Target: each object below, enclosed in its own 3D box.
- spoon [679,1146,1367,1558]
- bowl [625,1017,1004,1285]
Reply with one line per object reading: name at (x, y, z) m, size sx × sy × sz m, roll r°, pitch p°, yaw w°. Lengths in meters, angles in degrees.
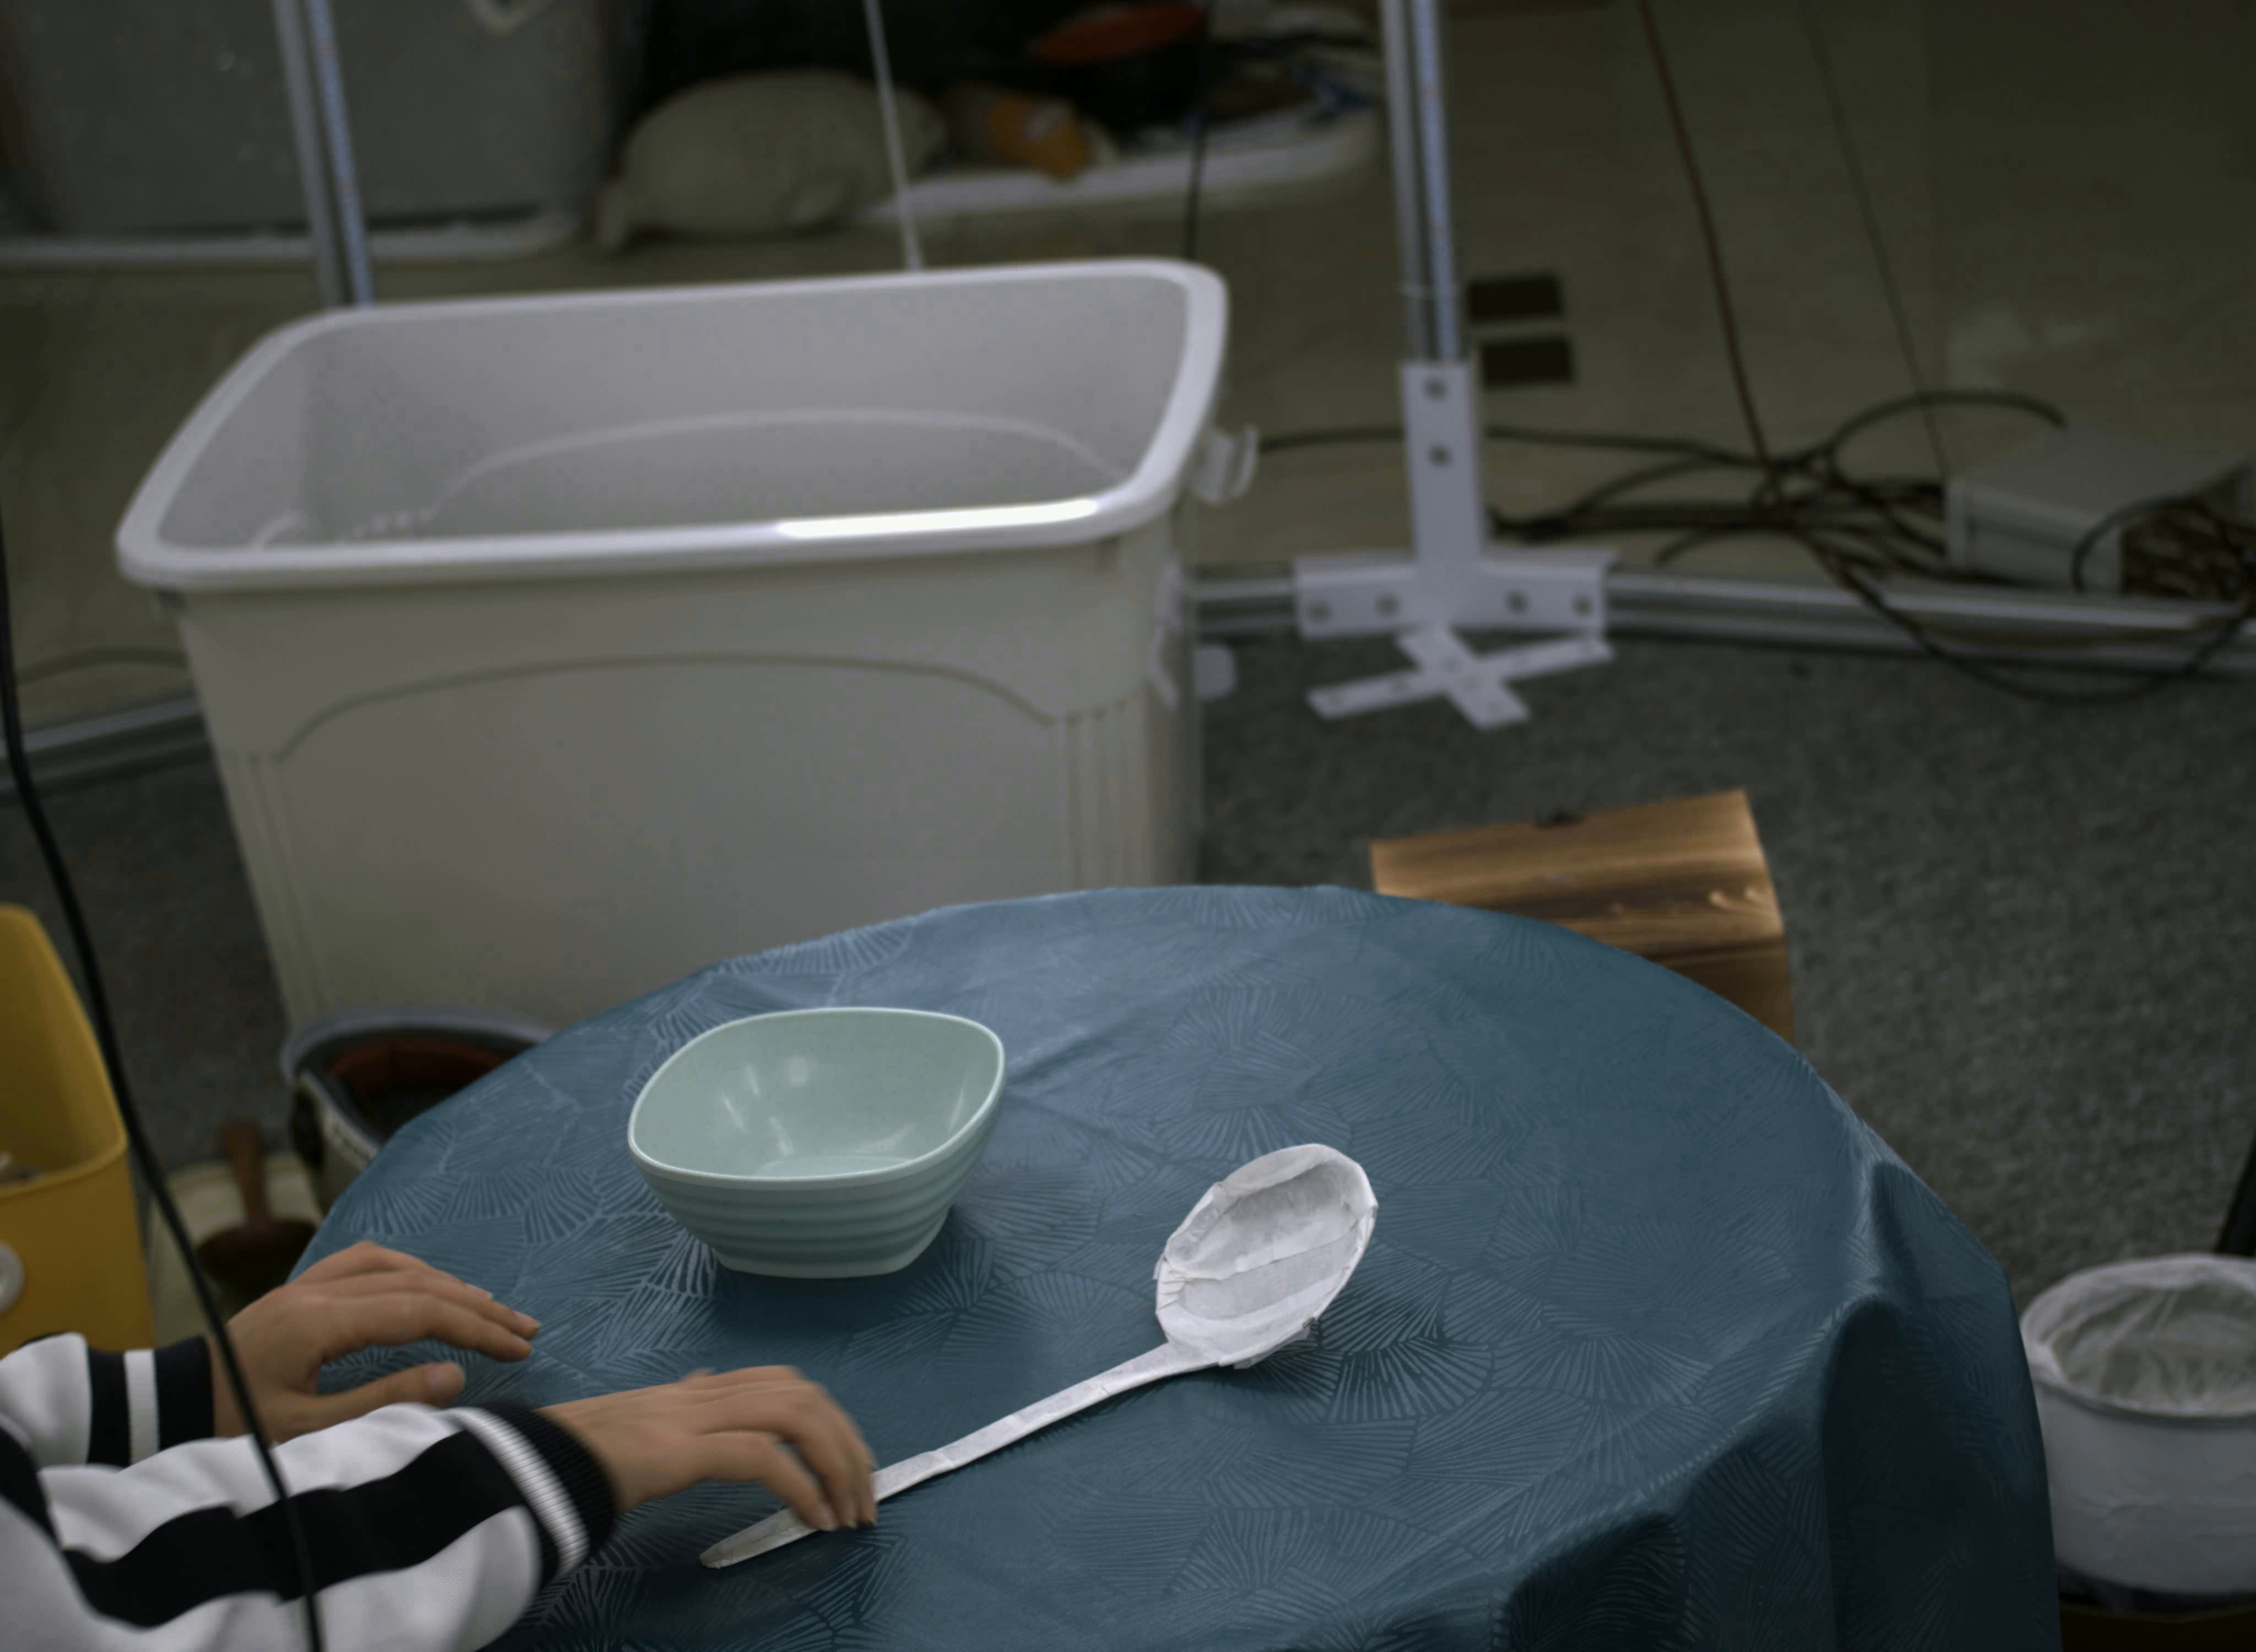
spoon at (-0.040, 0.182, 1.997) m, size 0.276 × 0.060 × 0.100 m, roll -19°, pitch 22°, yaw -24°
bowl at (-0.114, 0.128, 2.137) m, size 0.151 × 0.059 × 0.149 m, roll -5°, pitch 25°, yaw 3°
